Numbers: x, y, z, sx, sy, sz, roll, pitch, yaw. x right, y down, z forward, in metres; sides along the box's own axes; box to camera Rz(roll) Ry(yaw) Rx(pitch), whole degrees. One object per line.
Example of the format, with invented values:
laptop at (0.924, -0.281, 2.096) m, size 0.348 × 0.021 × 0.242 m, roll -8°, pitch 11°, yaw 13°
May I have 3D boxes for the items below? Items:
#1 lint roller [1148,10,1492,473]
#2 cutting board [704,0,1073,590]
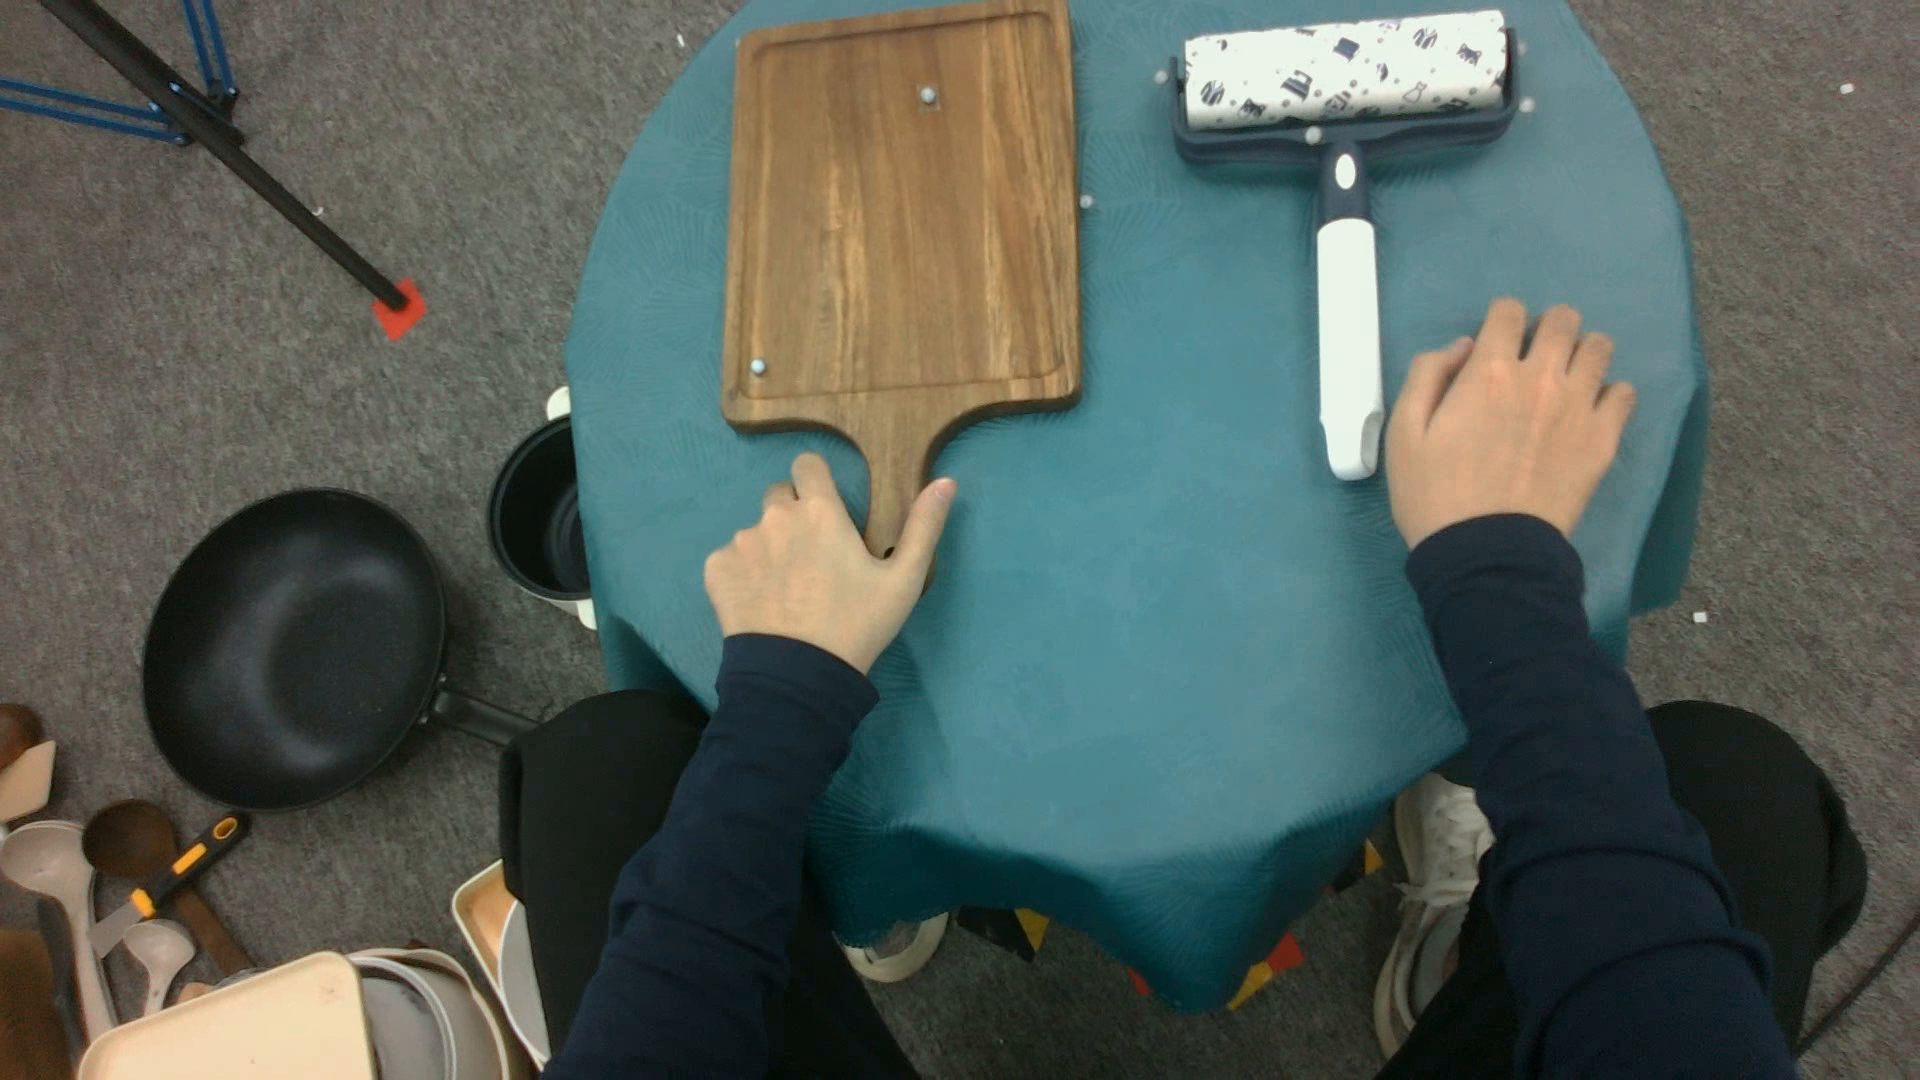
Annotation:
lint roller at (0.190, -0.157, 0.708) m, size 0.176 × 0.050 × 0.247 m, roll -2°, pitch 74°, yaw 8°
cutting board at (-0.042, -0.144, 0.752) m, size 0.201 × 0.023 × 0.353 m, roll -5°, pitch 71°, yaw 8°
